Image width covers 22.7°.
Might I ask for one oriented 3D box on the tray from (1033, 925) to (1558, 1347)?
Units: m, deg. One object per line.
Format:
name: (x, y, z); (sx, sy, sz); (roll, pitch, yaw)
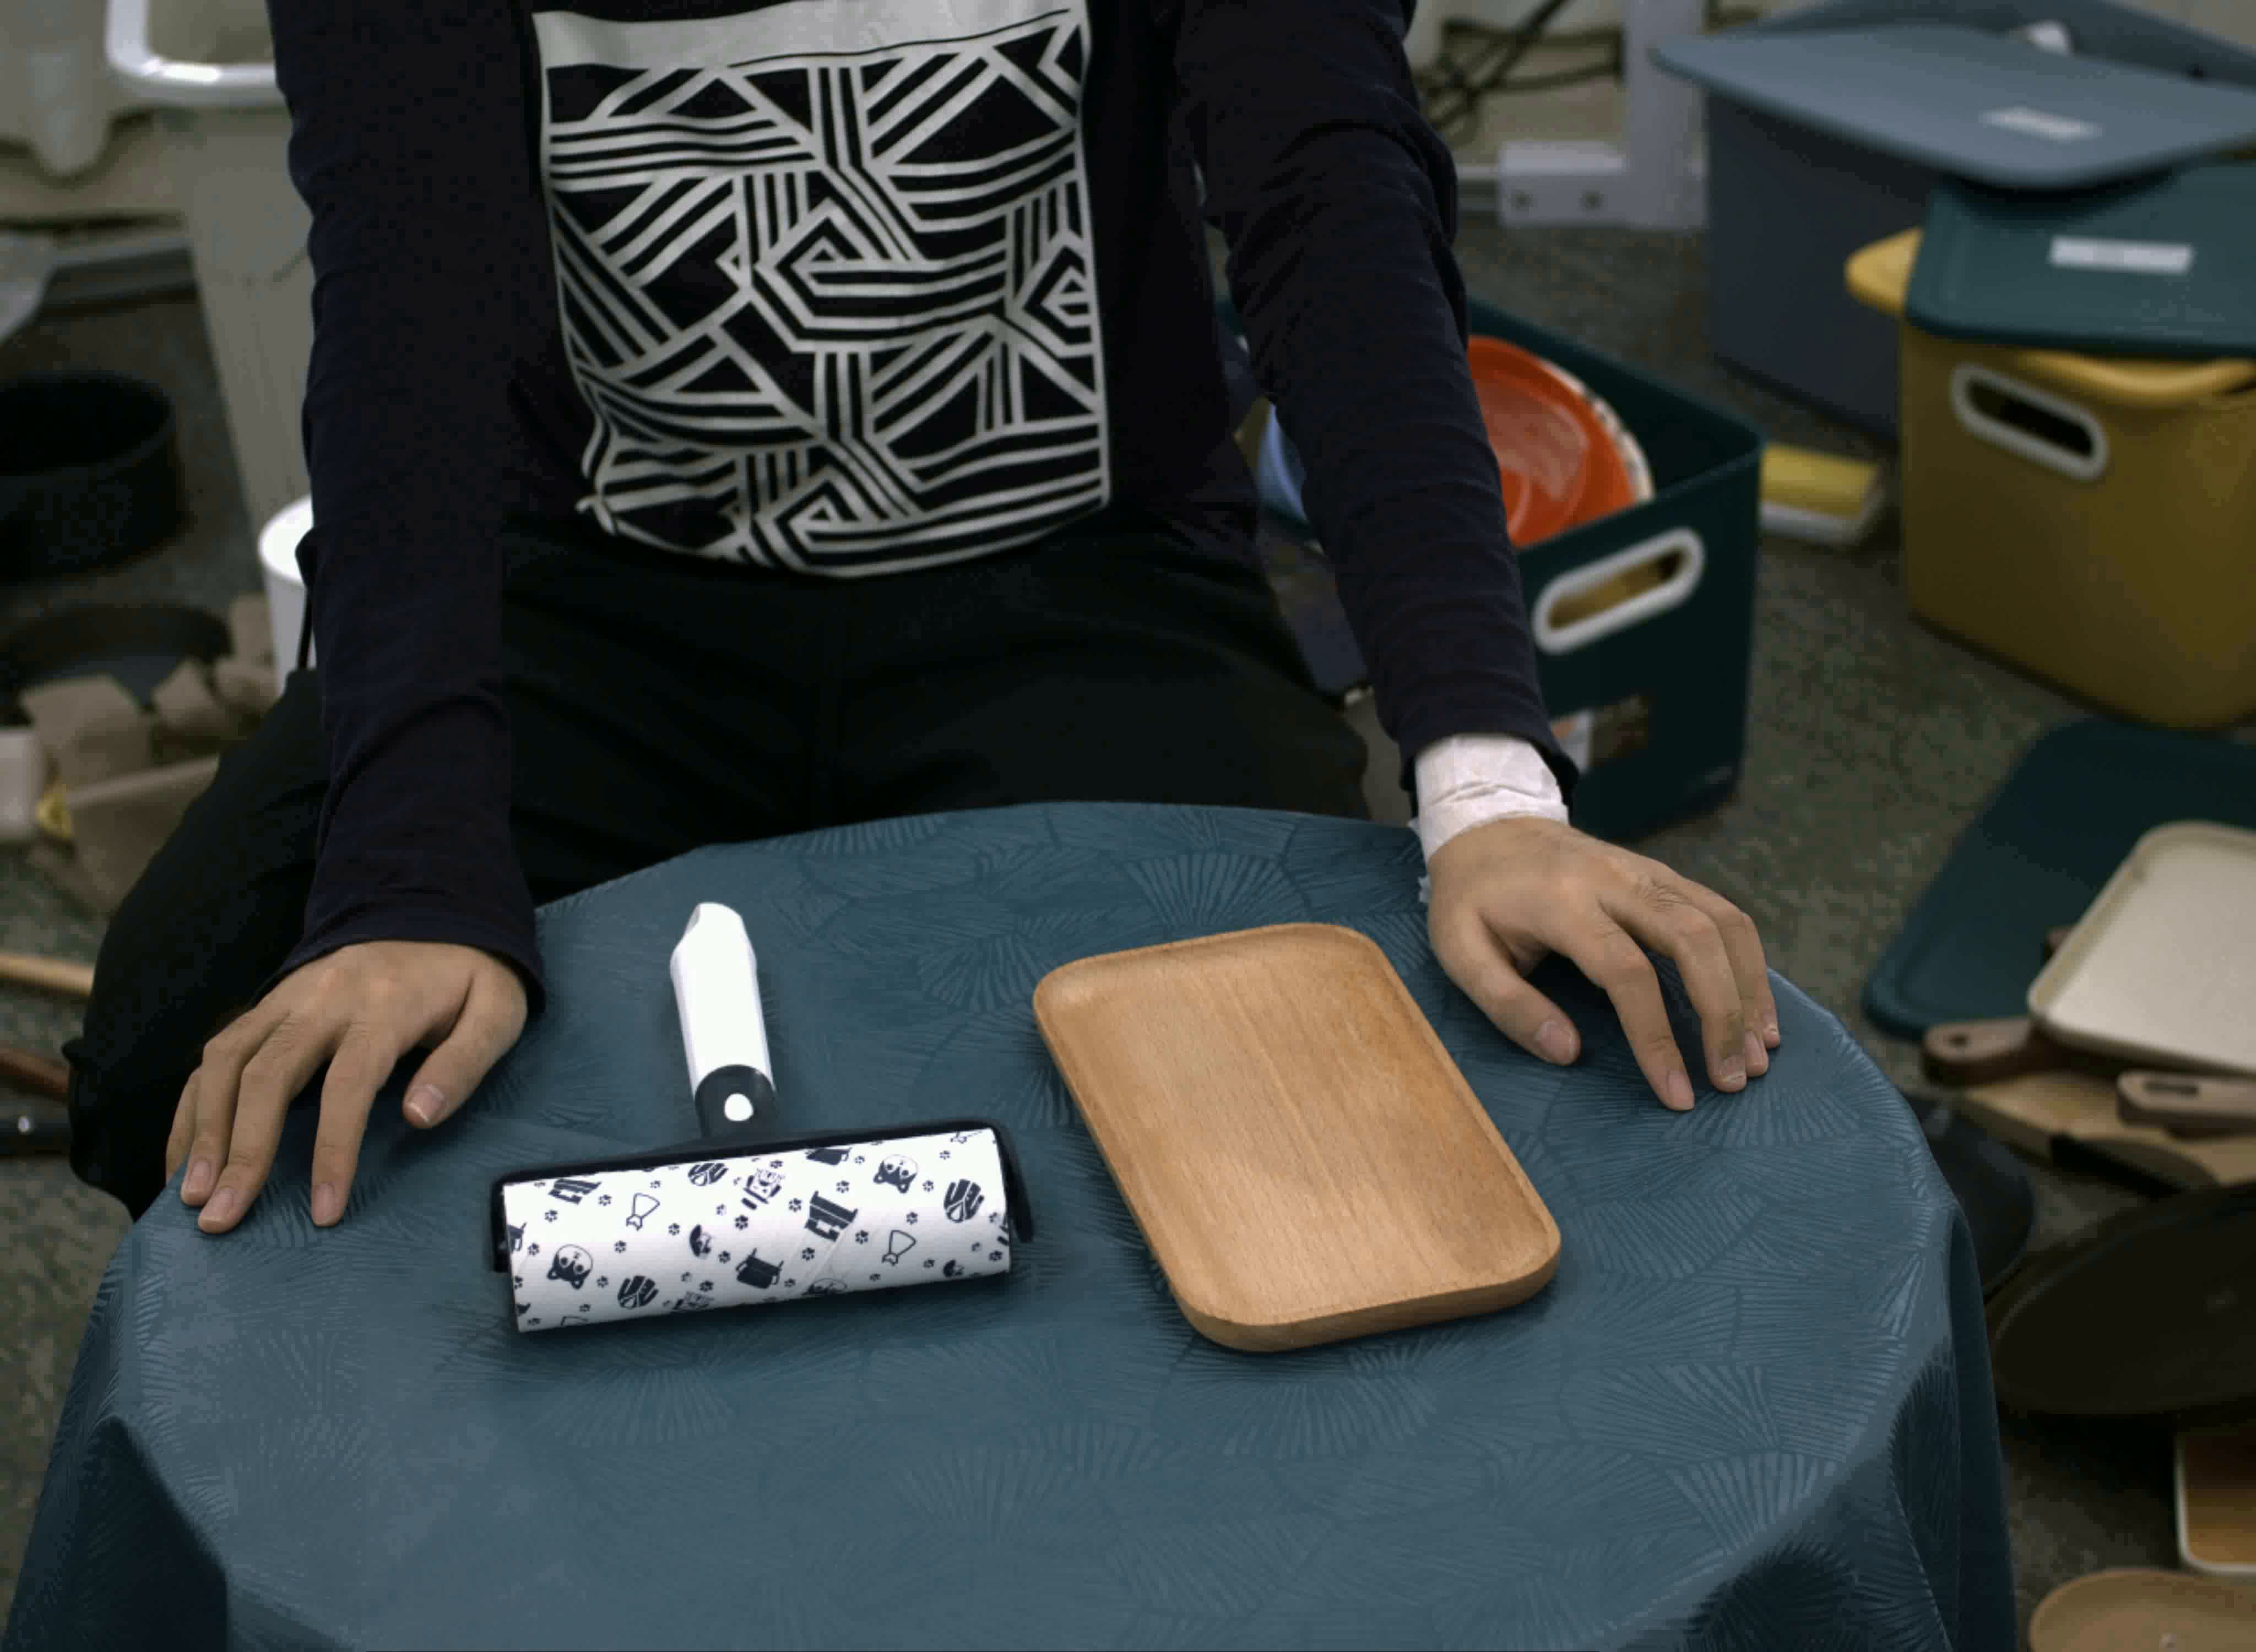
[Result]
tray: (0.052, 0.101, 1.881); (0.130, 0.022, 0.253); (-6, 26, -12)

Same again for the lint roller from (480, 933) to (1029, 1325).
lint roller: (-0.136, 0.088, 1.897); (0.176, 0.050, 0.250); (-7, 25, -7)
